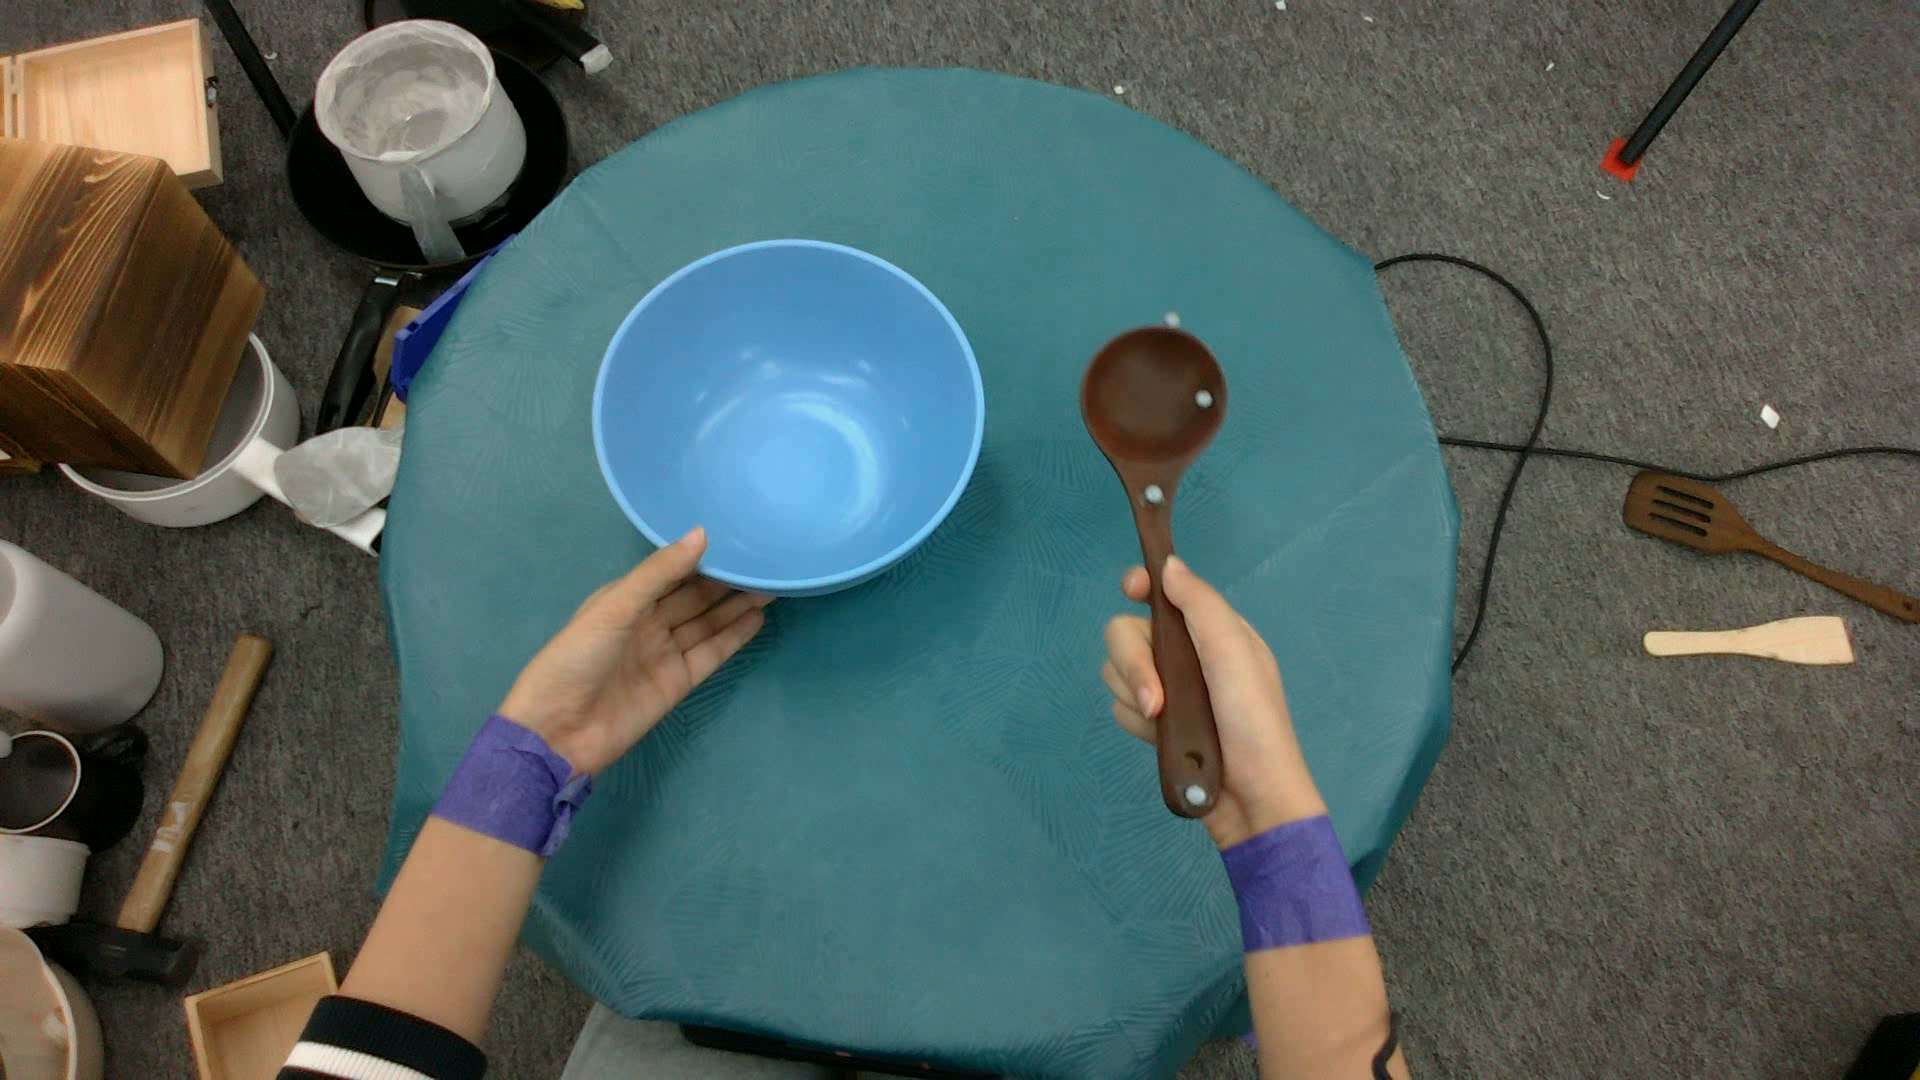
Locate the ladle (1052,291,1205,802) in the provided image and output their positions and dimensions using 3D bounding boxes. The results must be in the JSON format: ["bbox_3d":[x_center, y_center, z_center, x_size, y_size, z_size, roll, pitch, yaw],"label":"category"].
[{"bbox_3d":[0.086,-0.009,0.631,0.076,0.065,0.261,0,51,-2],"label":"ladle"}]

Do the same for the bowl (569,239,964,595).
[{"bbox_3d":[-0.102,-0.052,0.730,0.196,0.095,0.197,4,66,-9],"label":"bowl"}]
